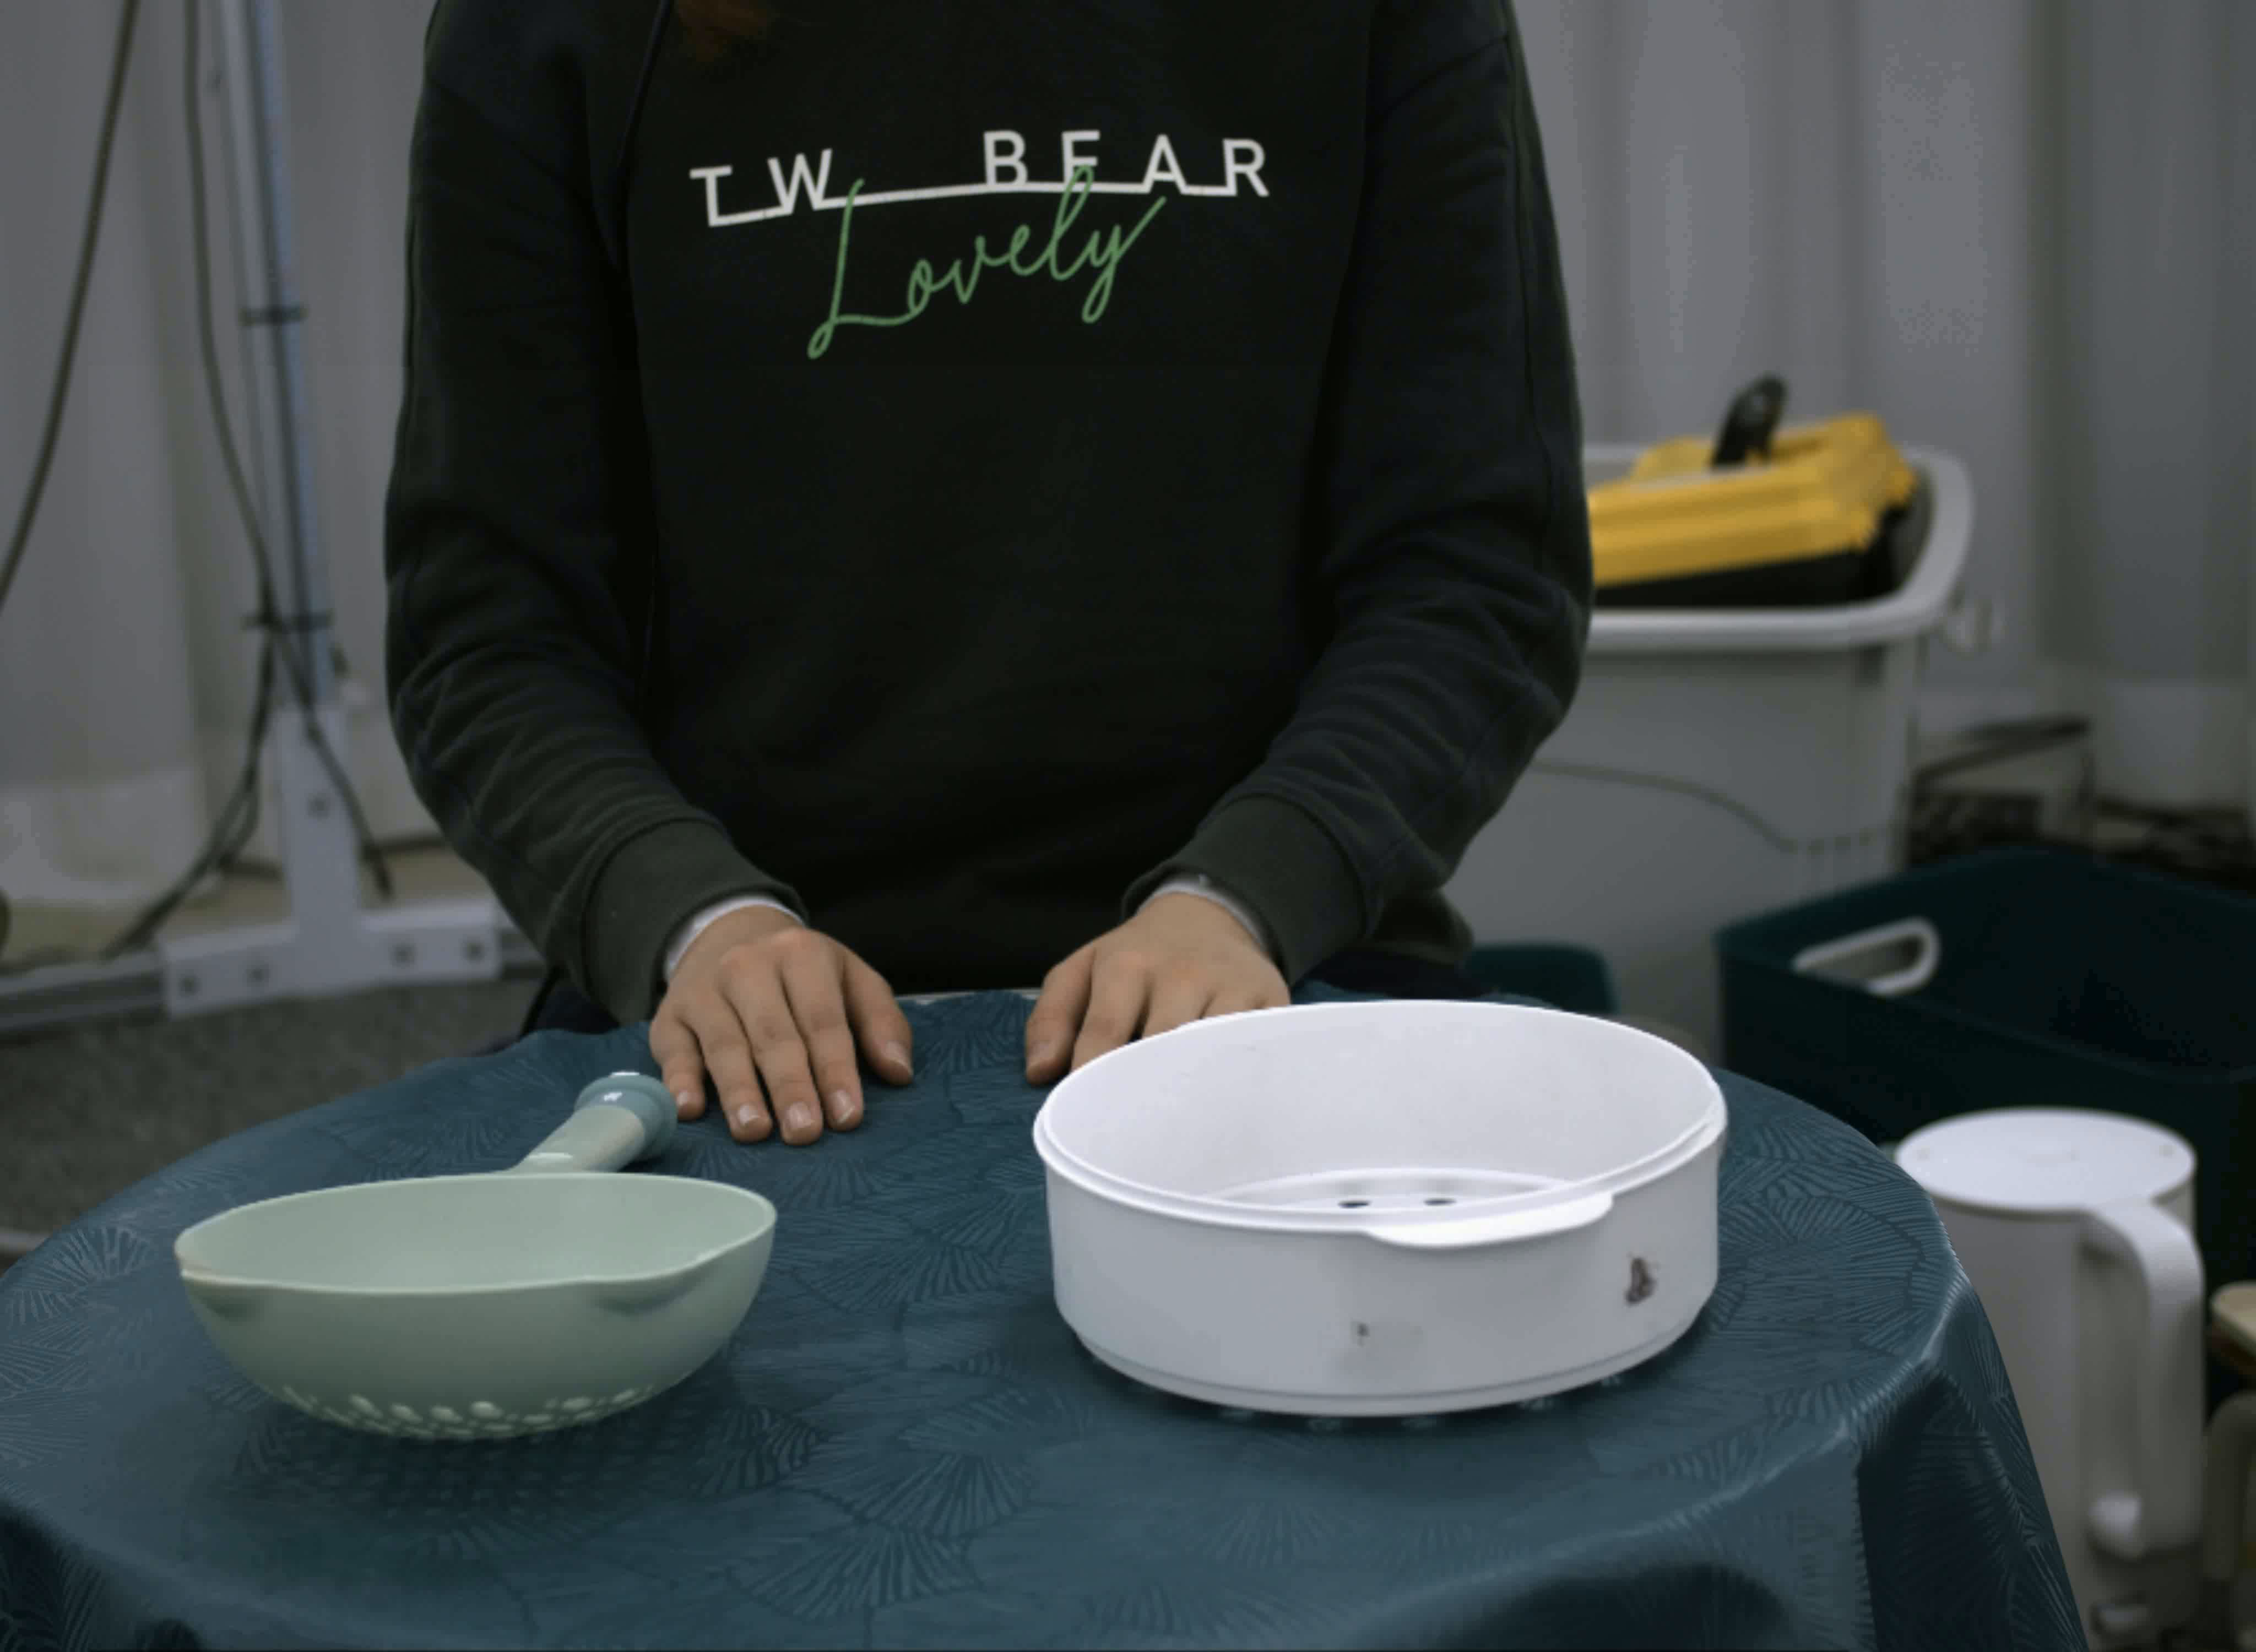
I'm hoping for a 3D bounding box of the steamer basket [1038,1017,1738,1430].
[{"bbox_3d":[0.075,0.114,1.580,0.201,0.069,0.232,-6,15,-16],"label":"steamer basket"}]

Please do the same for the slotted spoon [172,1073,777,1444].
[{"bbox_3d":[-0.173,0.113,1.630,0.169,0.075,0.361,-1,15,5],"label":"slotted spoon"}]
